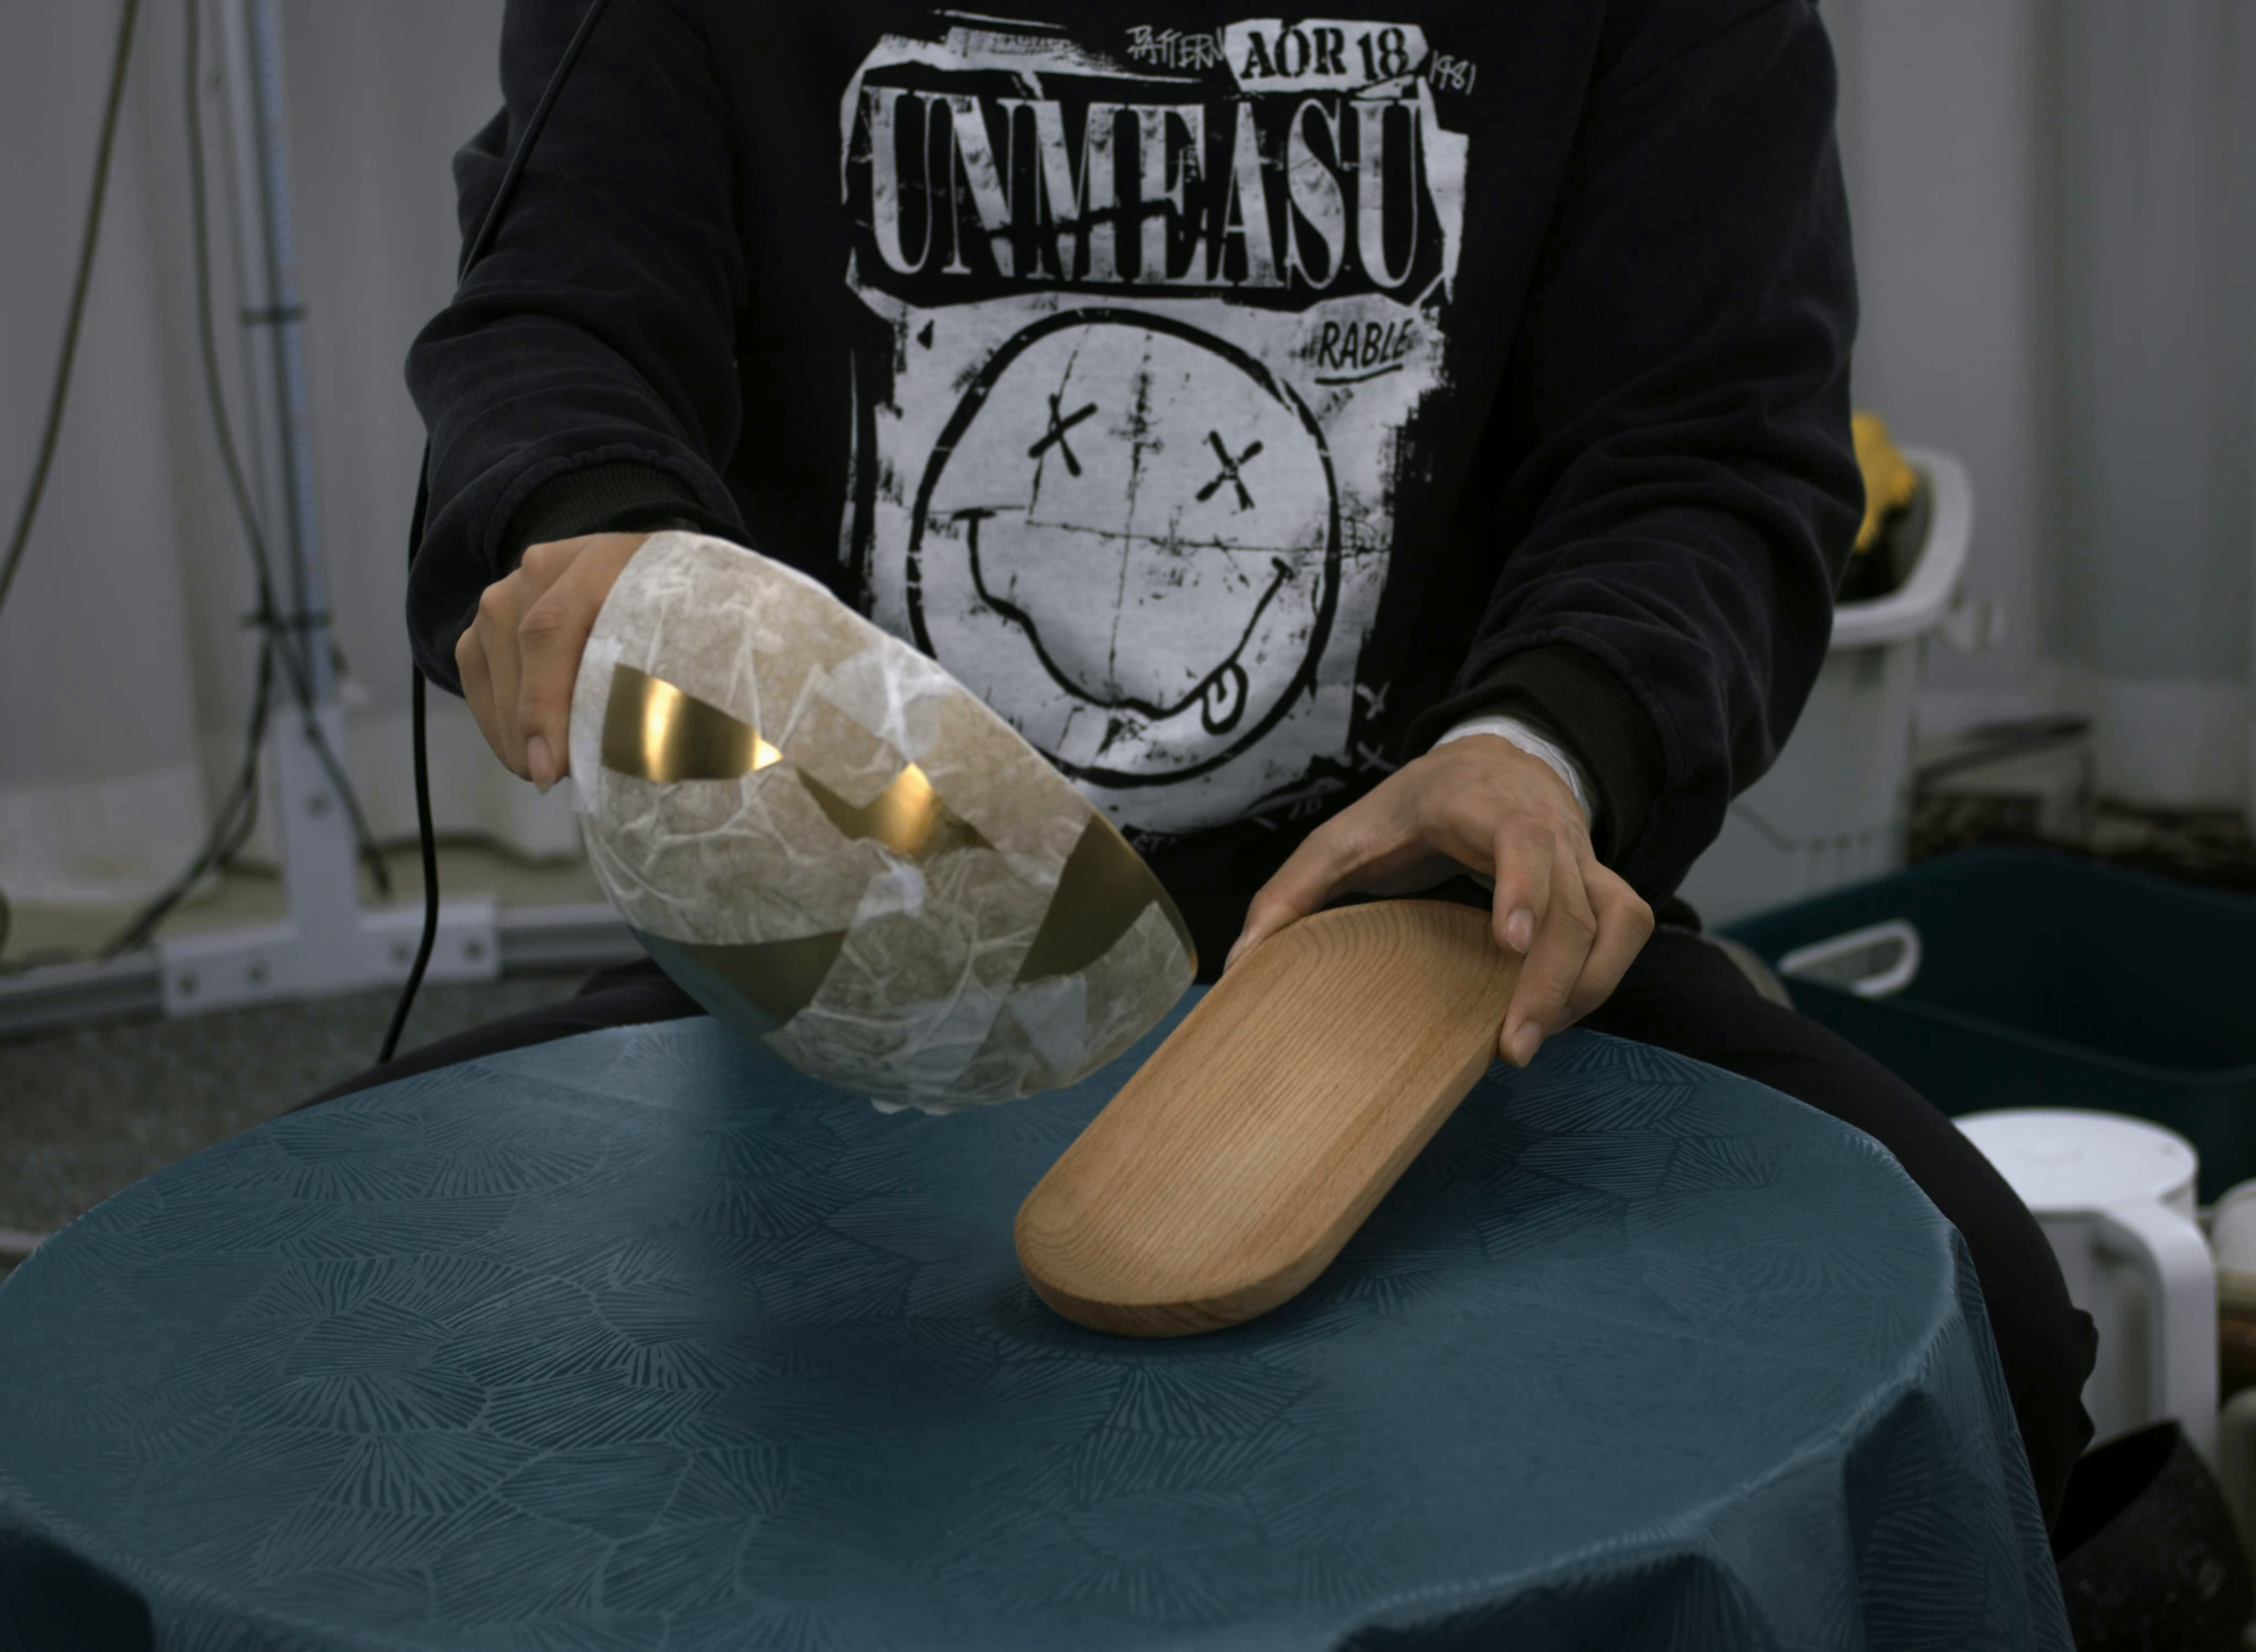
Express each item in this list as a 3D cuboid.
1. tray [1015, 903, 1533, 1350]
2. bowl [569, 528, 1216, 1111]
[{"bbox_3d":[0.047,0.089,1.665,0.102,0.020,0.233,4,34,29],"label":"tray"},{"bbox_3d":[-0.082,0.018,1.548,0.095,0.212,0.216,-52,35,-15],"label":"bowl"}]
